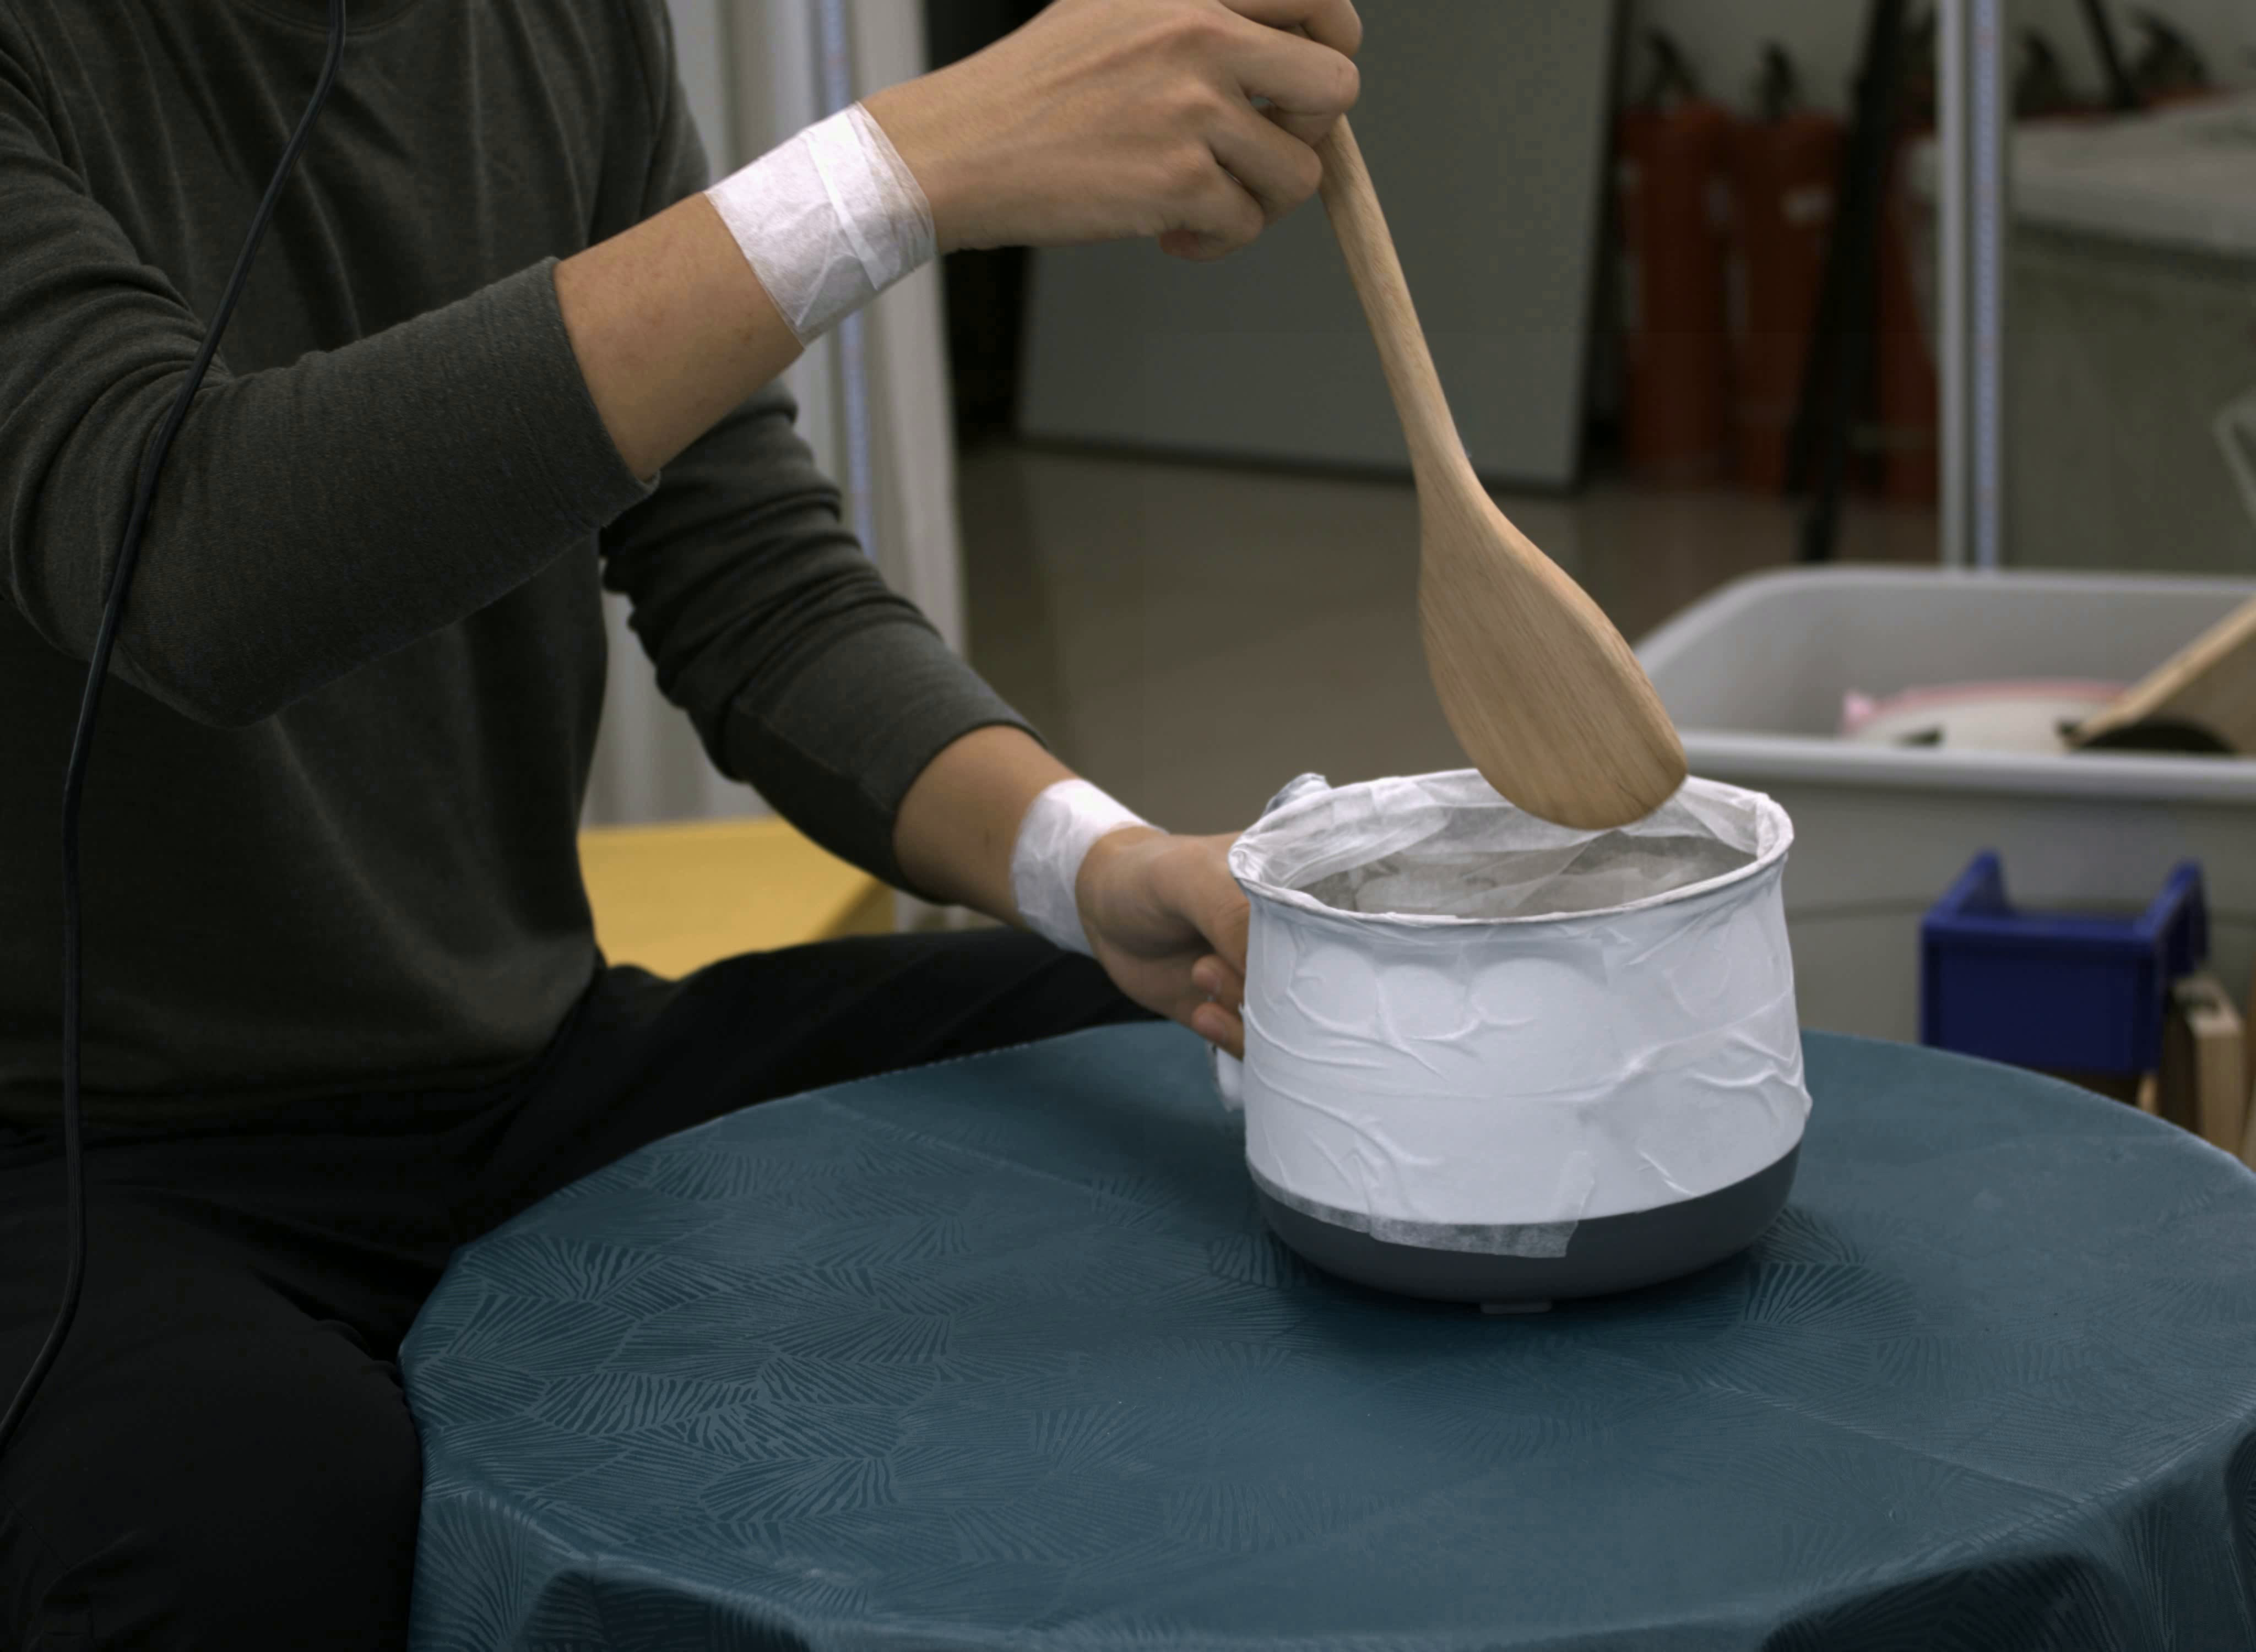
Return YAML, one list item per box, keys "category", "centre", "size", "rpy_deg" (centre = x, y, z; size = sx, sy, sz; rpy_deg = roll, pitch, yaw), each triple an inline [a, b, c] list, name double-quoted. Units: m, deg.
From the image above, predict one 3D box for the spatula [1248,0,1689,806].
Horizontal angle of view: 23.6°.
- category: "spatula"
  centre: [0.069, -0.186, 1.609]
  size: [0.018, 0.394, 0.097]
  rpy_deg: [-25, 7, -34]

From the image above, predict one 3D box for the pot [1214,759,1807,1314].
- category: "pot"
  centre: [0.106, 0.059, 1.700]
  size: [0.175, 0.138, 0.236]
  rpy_deg: [-15, 17, -35]
